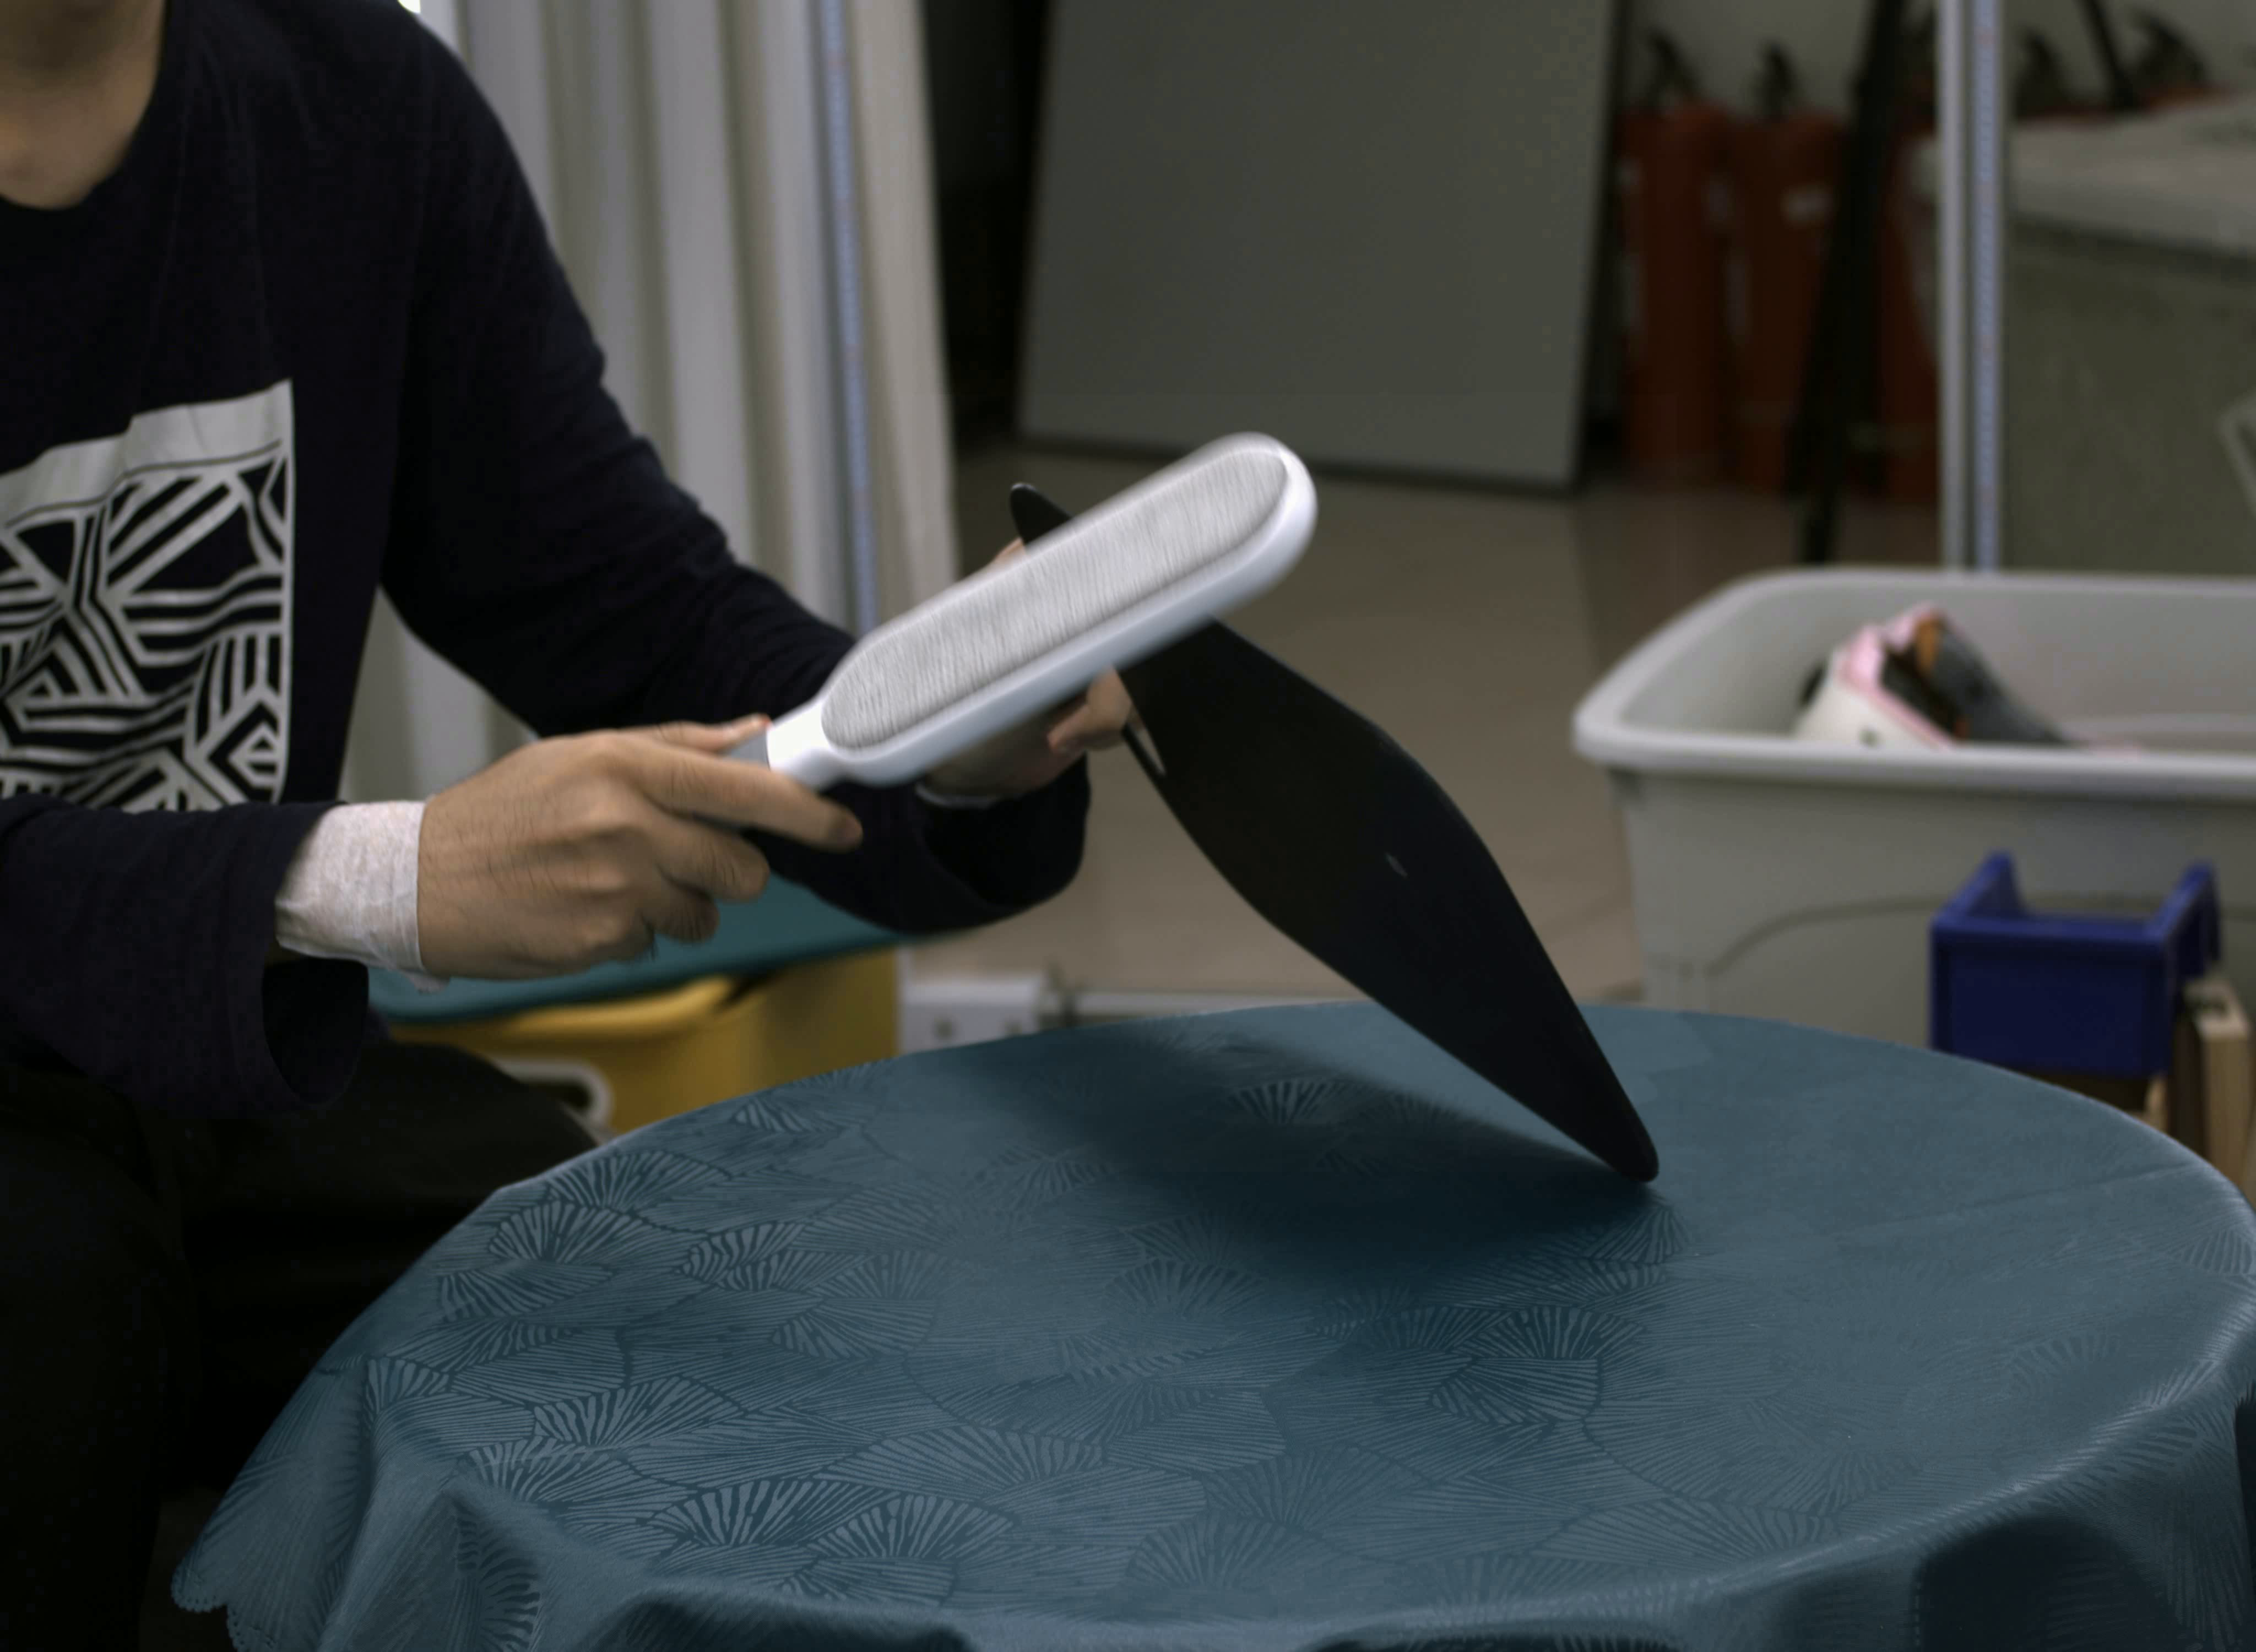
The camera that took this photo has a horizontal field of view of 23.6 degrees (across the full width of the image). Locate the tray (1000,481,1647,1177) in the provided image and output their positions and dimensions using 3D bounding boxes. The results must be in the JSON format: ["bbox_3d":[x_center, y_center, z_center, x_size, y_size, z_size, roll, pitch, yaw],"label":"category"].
[{"bbox_3d":[0.058,-0.006,1.800,0.010,0.210,0.329,-38,33,-11],"label":"tray"}]

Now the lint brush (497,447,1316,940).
[{"bbox_3d":[-0.073,-0.037,1.691,0.309,0.020,0.060,-27,44,21],"label":"lint brush"}]
